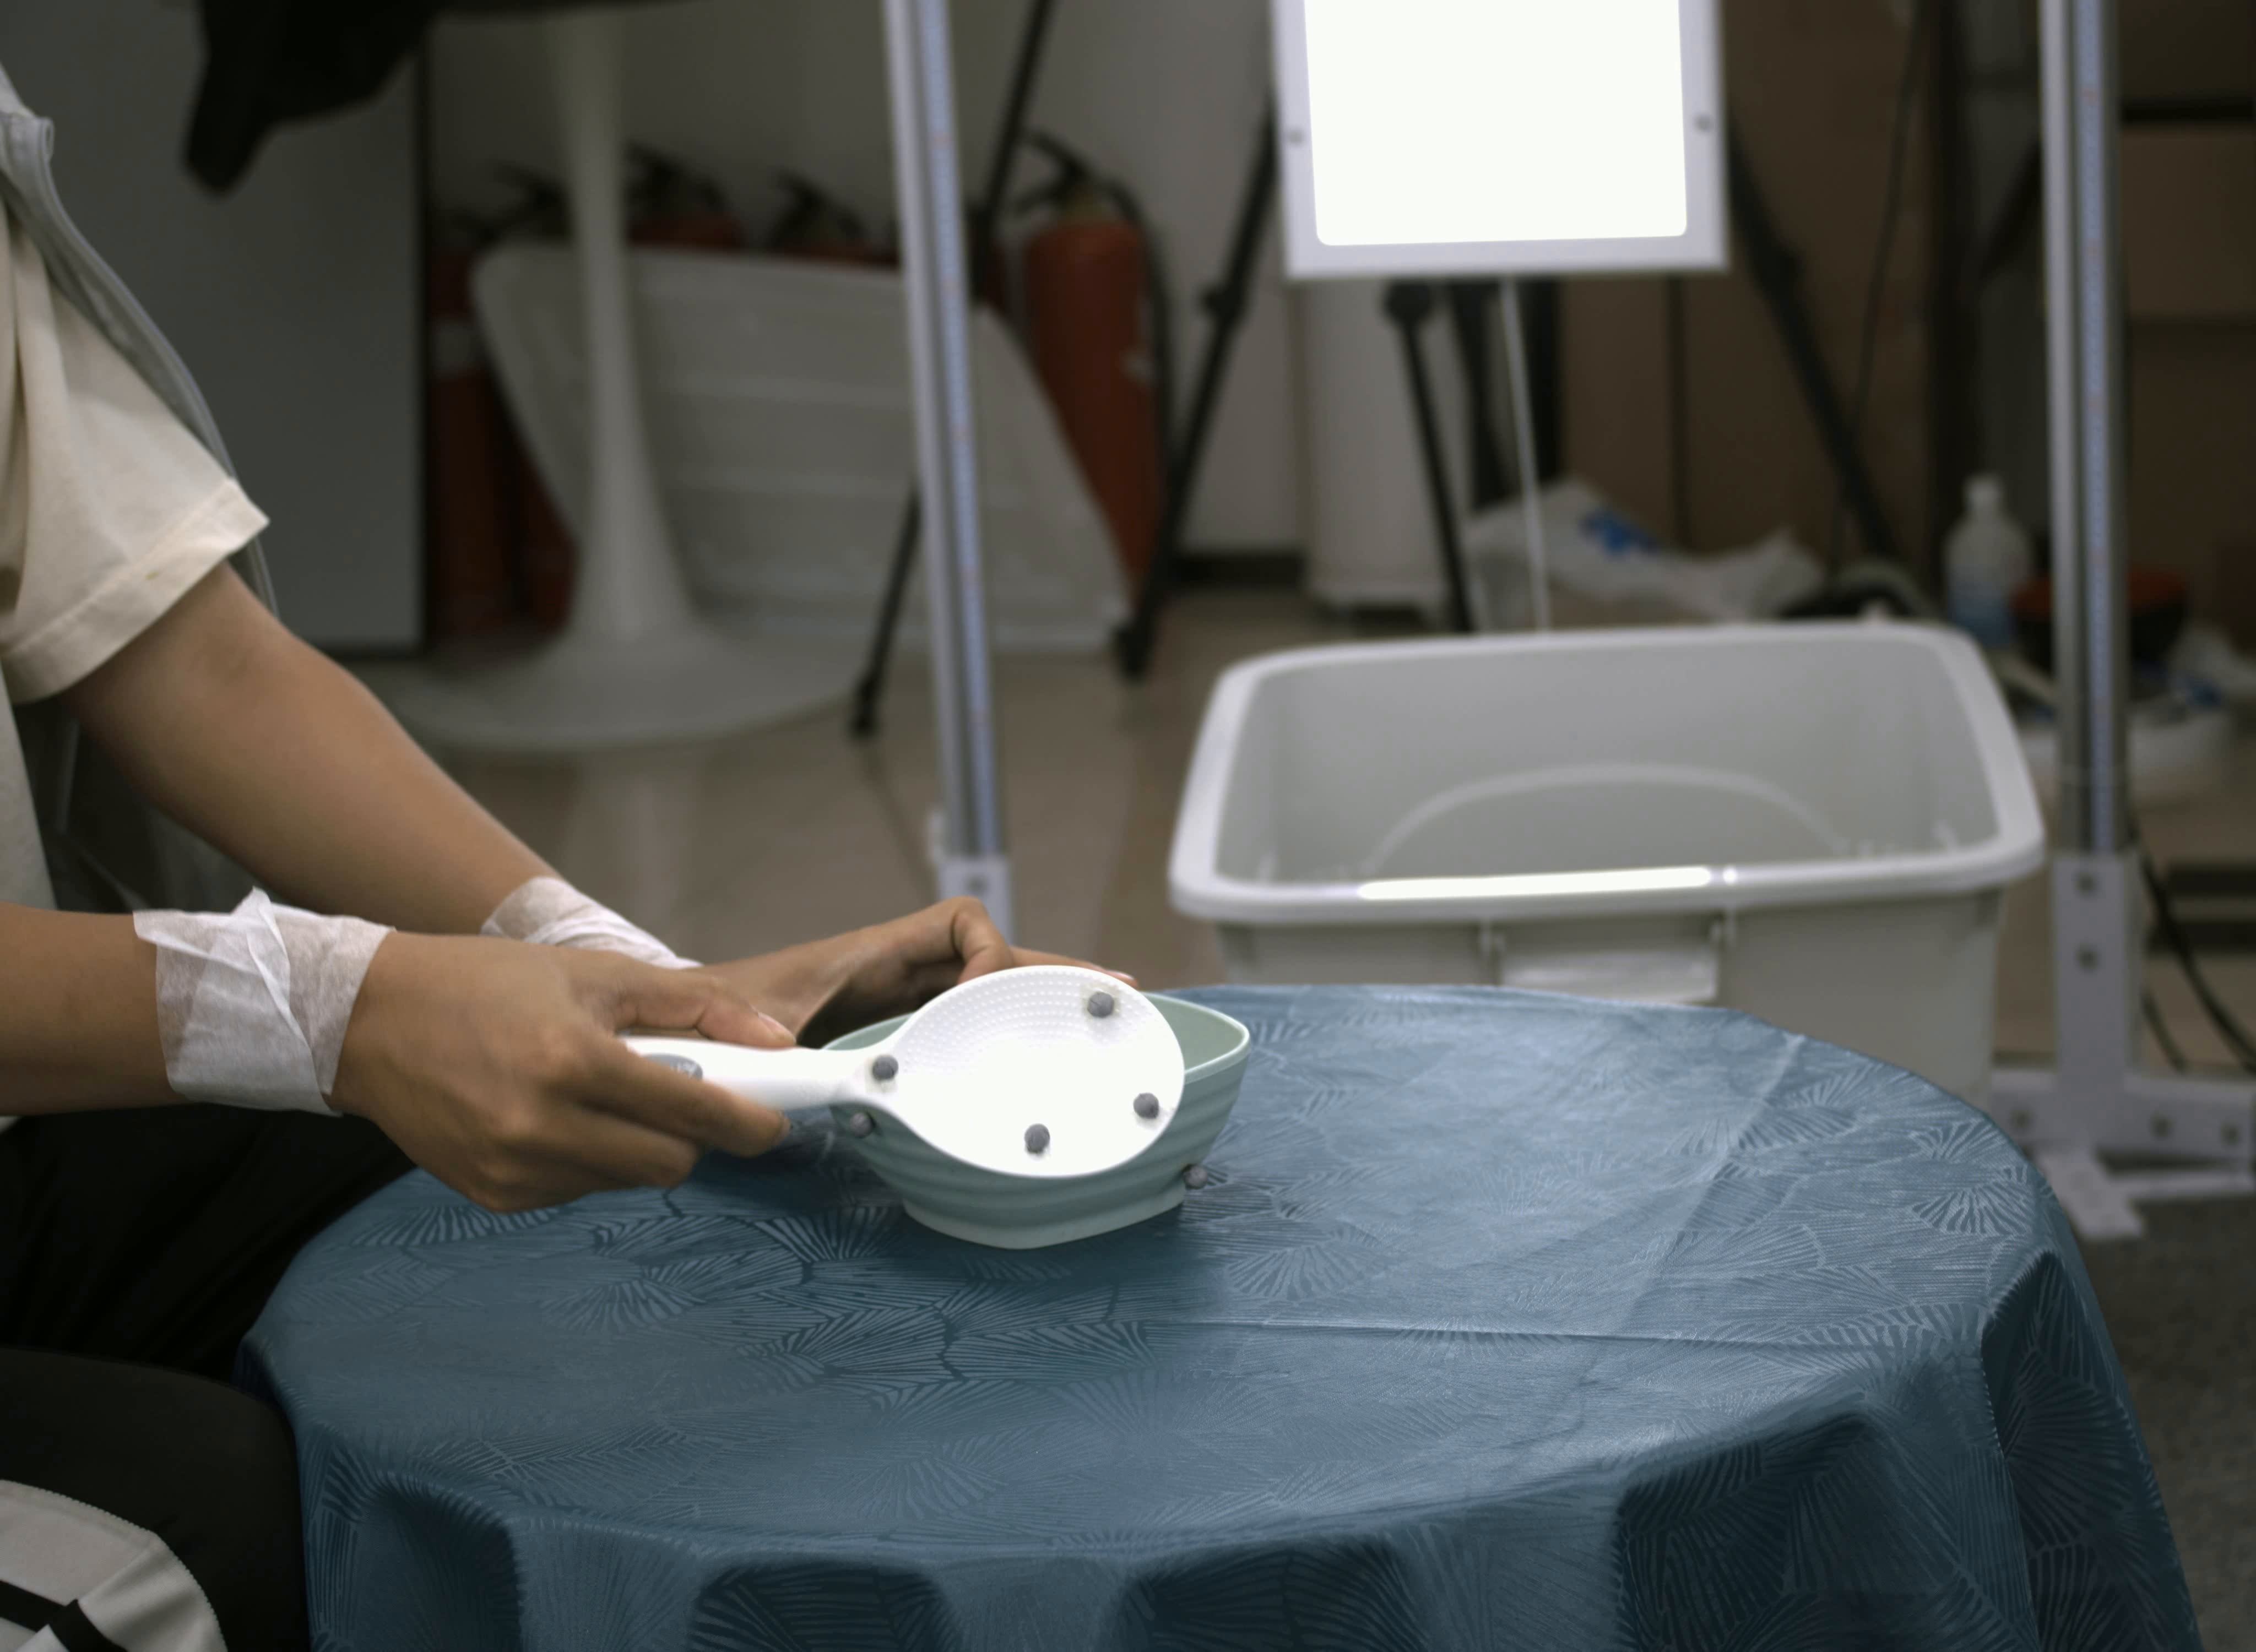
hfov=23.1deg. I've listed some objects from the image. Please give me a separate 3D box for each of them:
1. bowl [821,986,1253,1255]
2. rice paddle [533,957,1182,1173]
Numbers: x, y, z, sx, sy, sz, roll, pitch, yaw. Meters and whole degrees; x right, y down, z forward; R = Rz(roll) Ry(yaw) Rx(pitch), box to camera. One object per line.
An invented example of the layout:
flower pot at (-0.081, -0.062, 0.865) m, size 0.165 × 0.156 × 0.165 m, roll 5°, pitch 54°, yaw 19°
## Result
bowl at (-0.030, 0.103, 1.887) m, size 0.151 × 0.059 × 0.151 m, roll -5°, pitch 15°, yaw 0°
rice paddle at (-0.083, 0.078, 1.728) m, size 0.203 × 0.069 × 0.029 m, roll -2°, pitch -10°, yaw -6°
